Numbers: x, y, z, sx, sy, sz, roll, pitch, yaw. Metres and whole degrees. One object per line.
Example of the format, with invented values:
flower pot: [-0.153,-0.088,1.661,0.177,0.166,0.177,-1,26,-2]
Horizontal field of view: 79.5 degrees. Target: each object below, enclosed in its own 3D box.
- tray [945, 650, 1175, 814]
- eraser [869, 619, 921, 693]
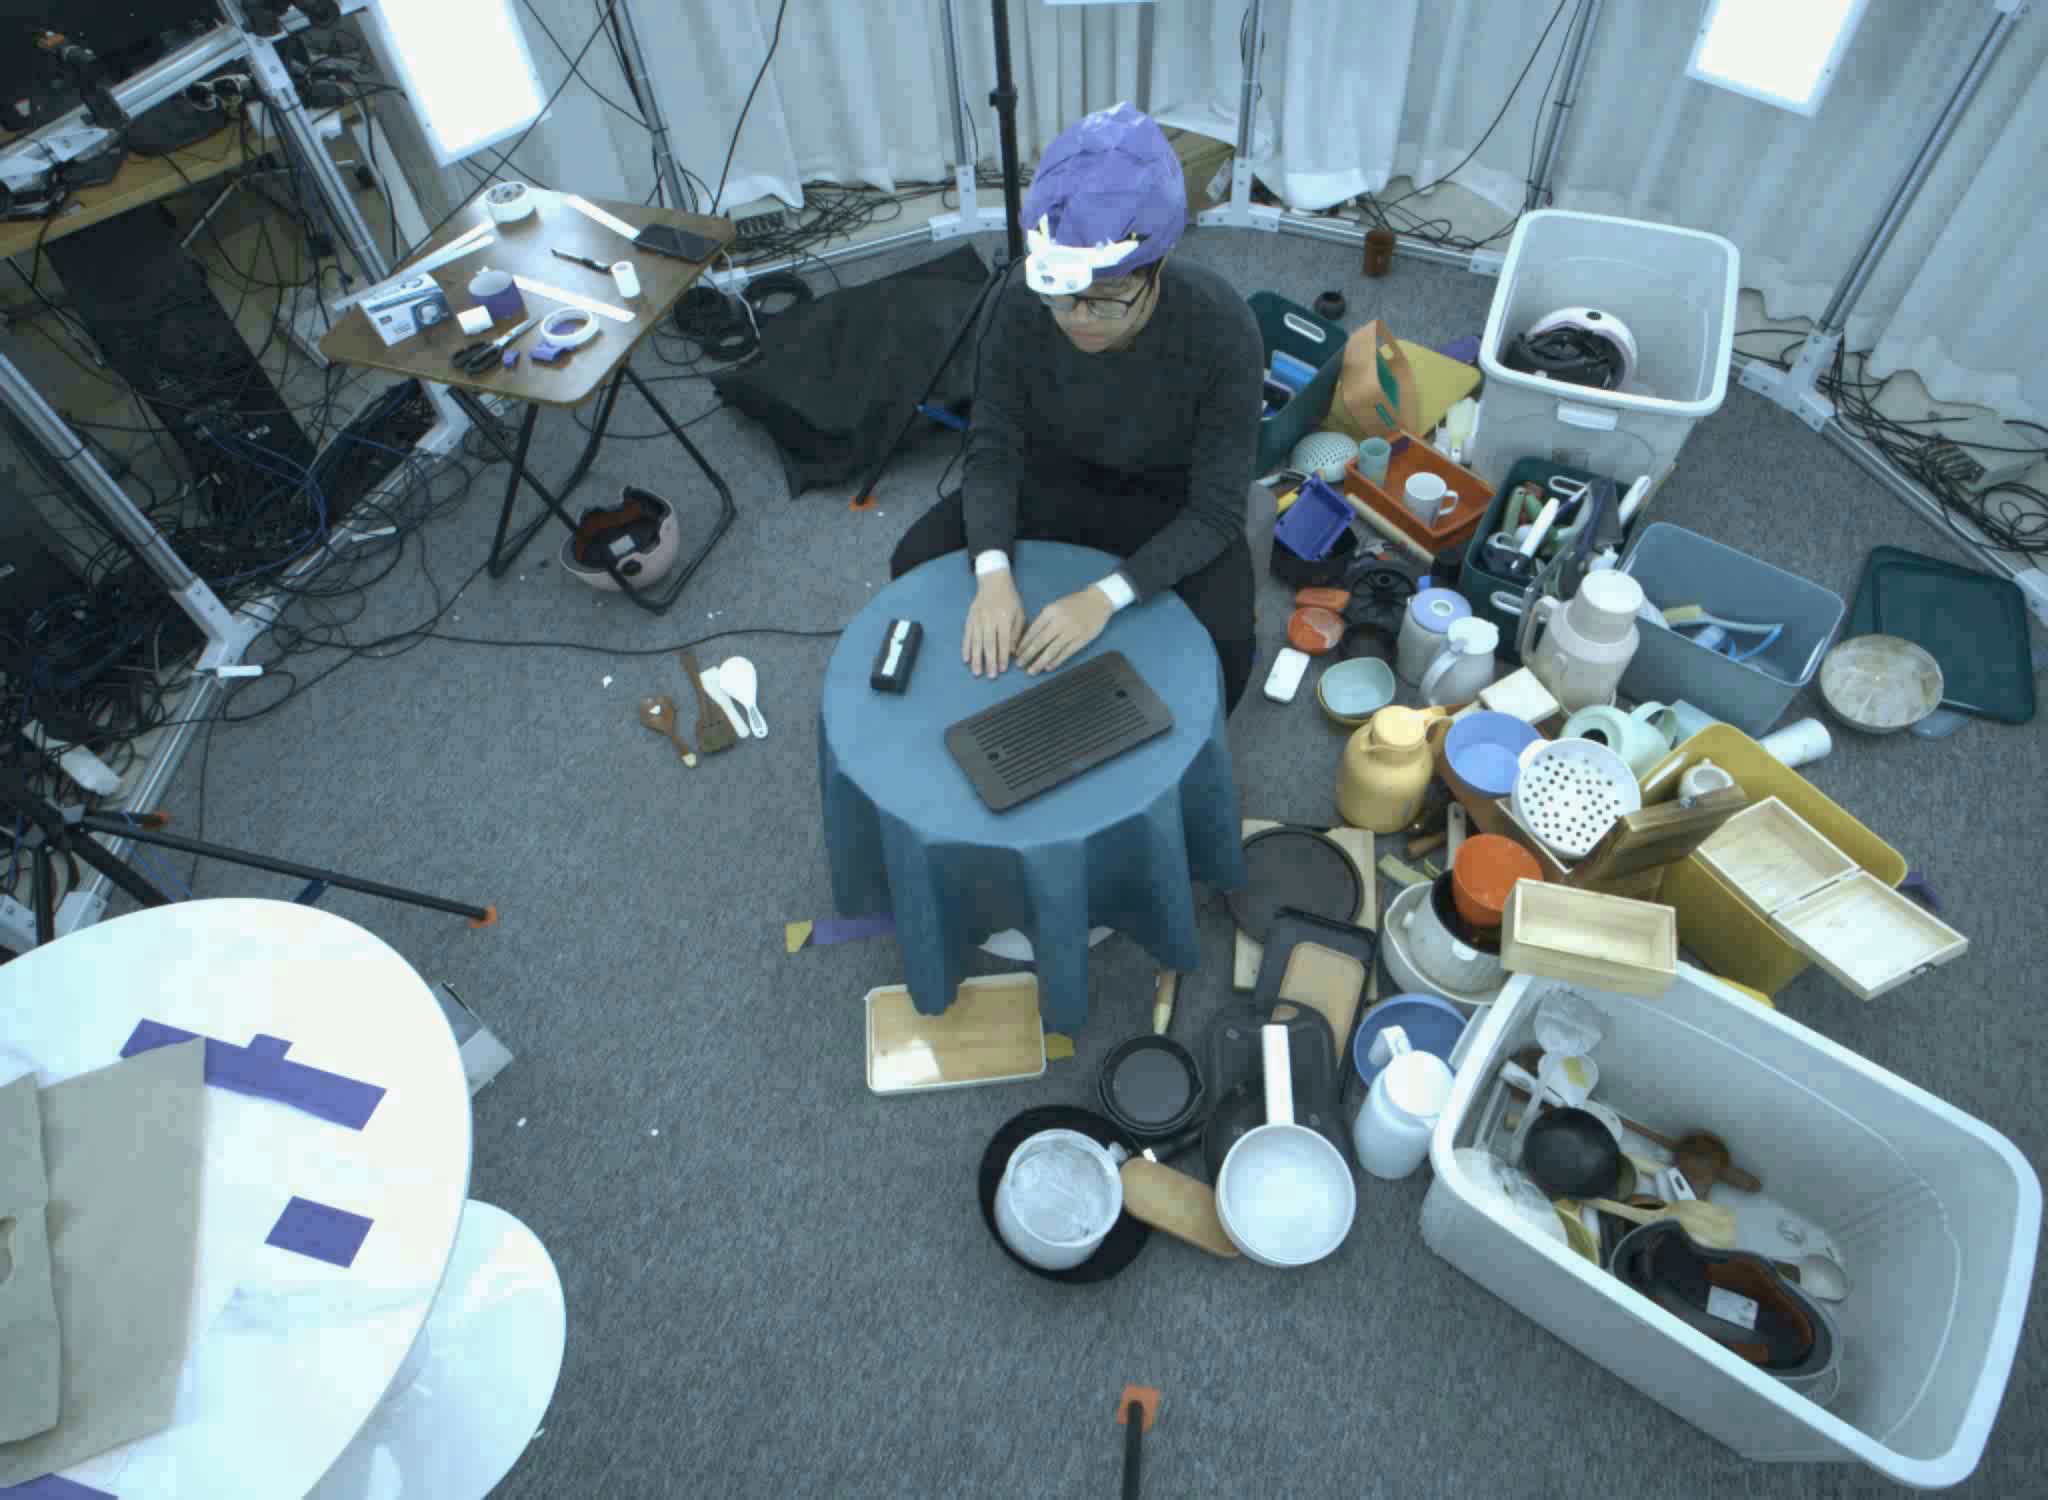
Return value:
tray: [0.053,-0.029,1.796,0.308,0.019,0.167,-26,58,-16]
eraser: [-0.198,-0.145,1.880,0.053,0.031,0.125,8,54,5]
